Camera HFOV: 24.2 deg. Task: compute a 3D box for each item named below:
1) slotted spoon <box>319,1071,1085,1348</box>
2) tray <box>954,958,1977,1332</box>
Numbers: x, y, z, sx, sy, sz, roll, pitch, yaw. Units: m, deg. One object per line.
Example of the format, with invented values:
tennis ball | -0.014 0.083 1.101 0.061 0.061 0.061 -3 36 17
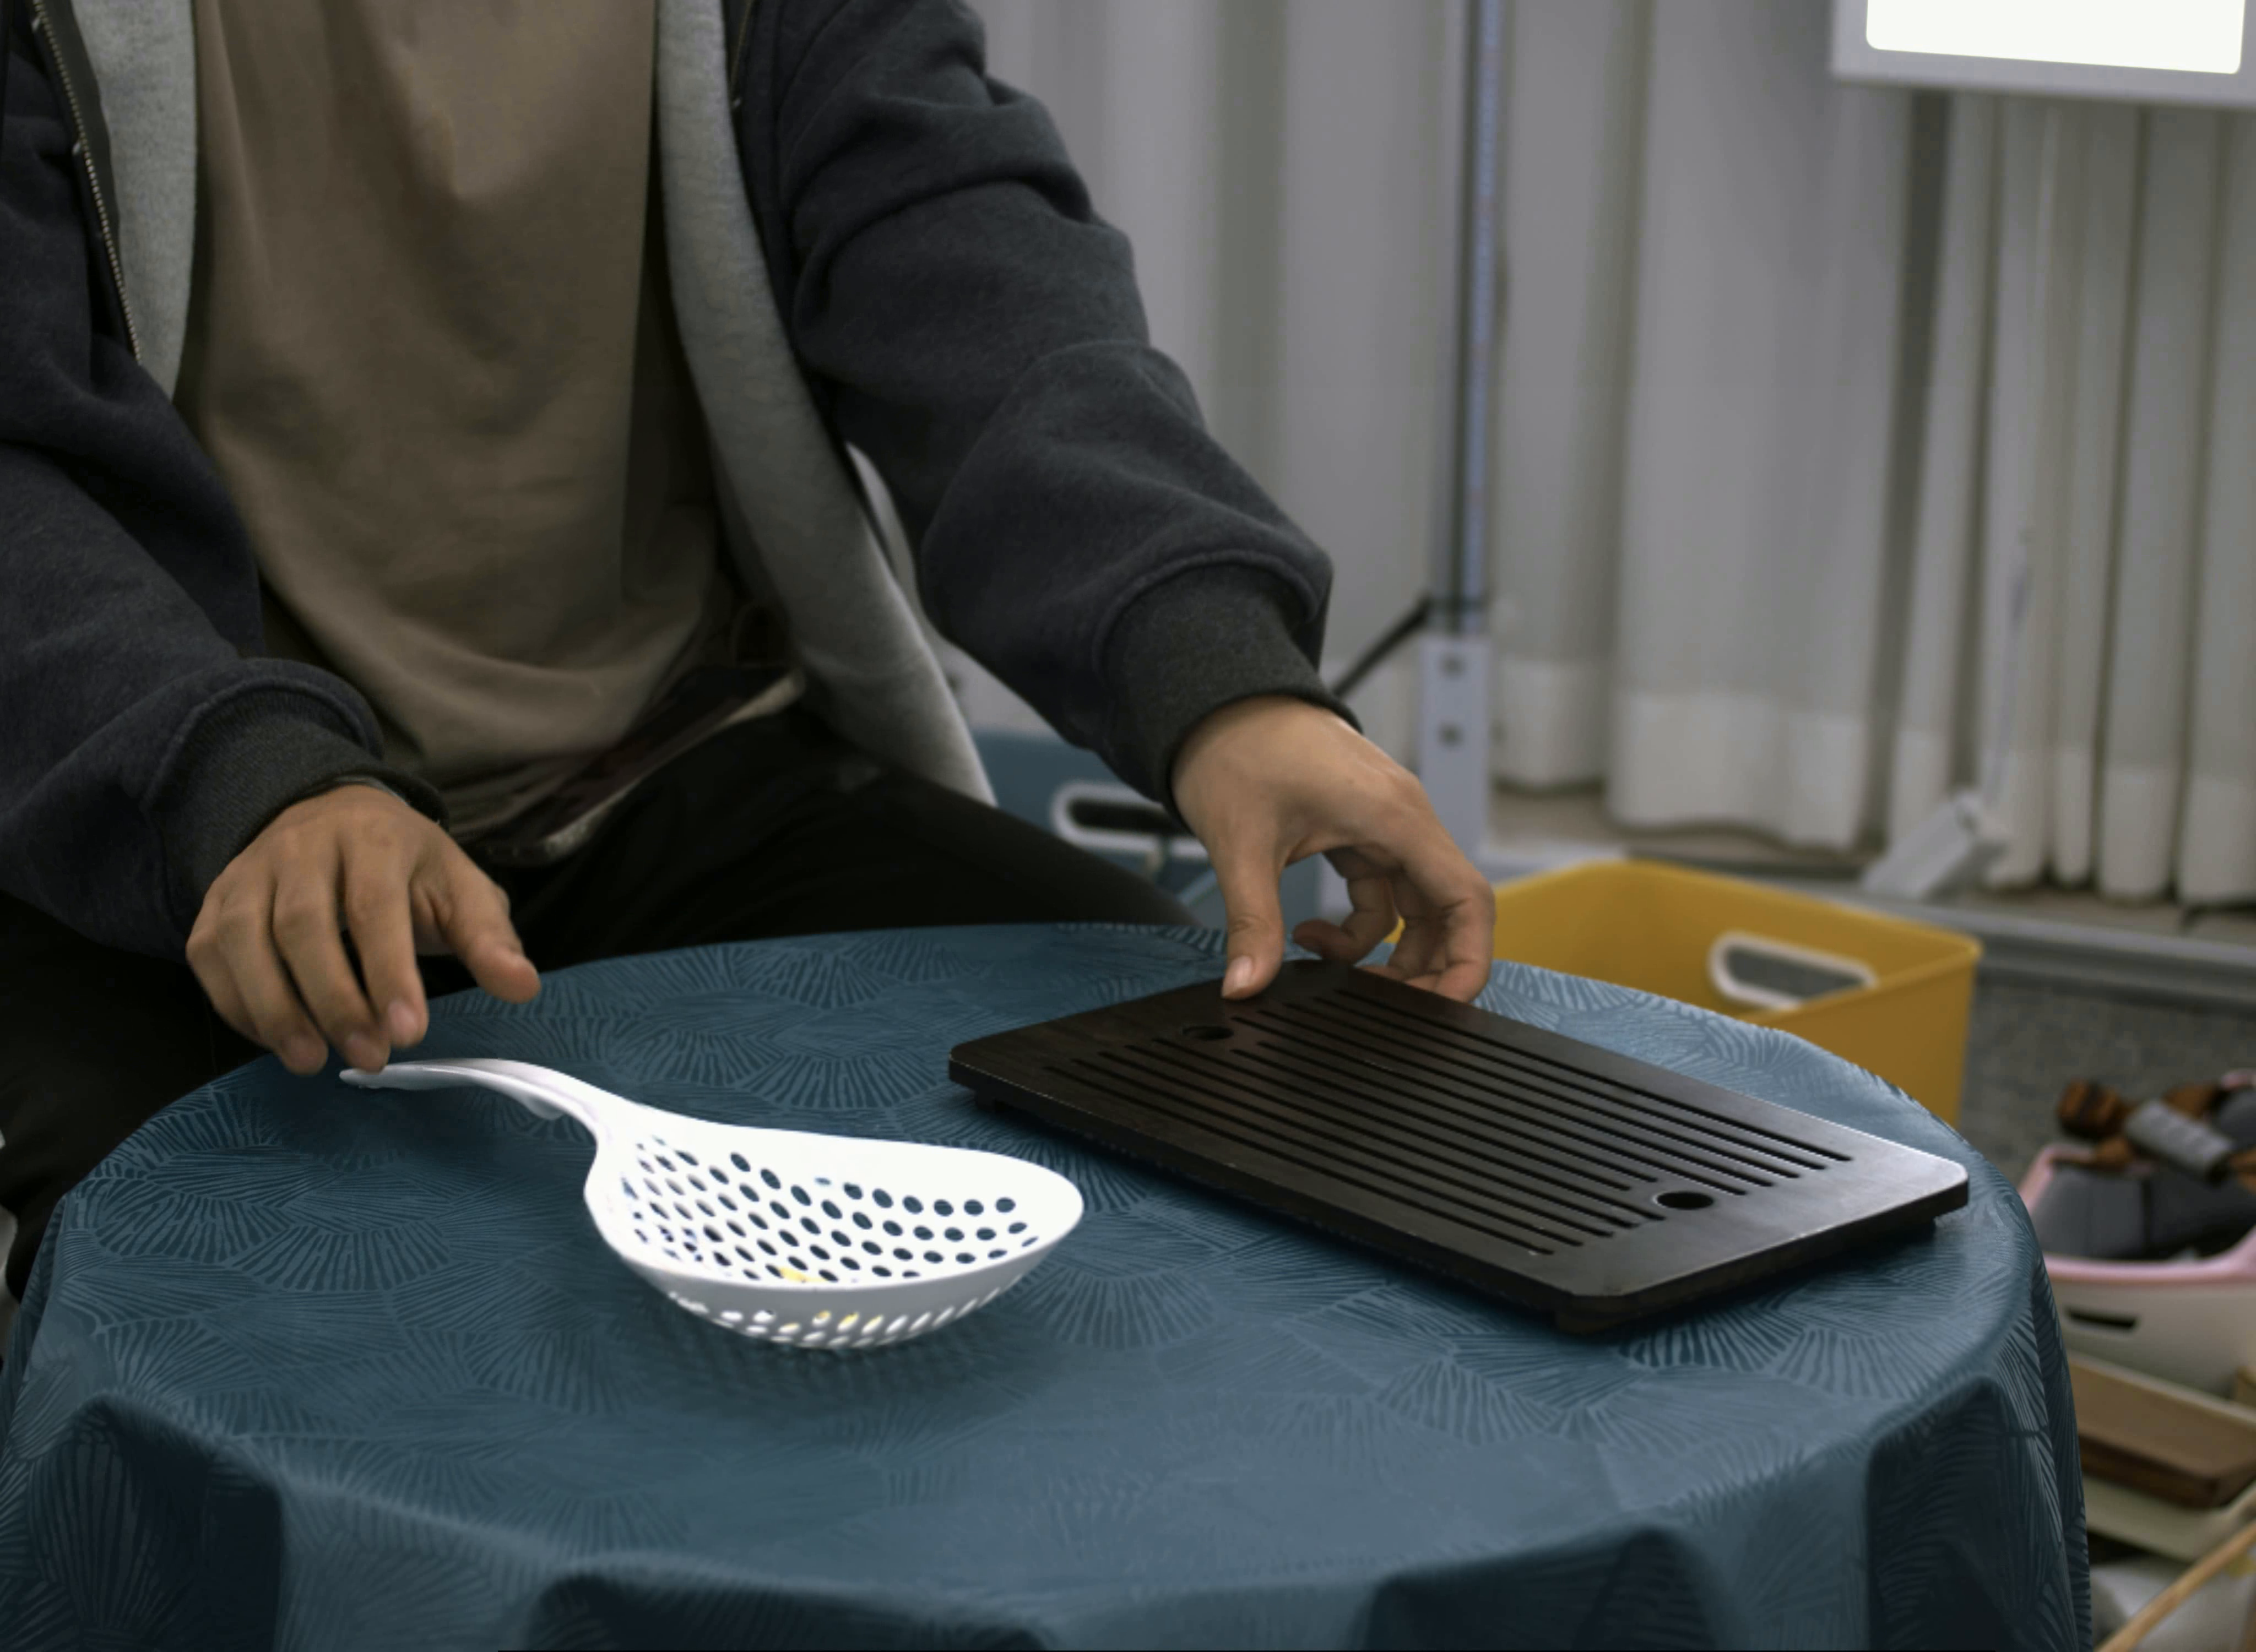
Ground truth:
slotted spoon | -0.147 0.101 1.580 0.137 0.051 0.343 -14 21 -36
tray | 0.100 0.096 1.652 0.171 0.019 0.302 -13 20 -40
